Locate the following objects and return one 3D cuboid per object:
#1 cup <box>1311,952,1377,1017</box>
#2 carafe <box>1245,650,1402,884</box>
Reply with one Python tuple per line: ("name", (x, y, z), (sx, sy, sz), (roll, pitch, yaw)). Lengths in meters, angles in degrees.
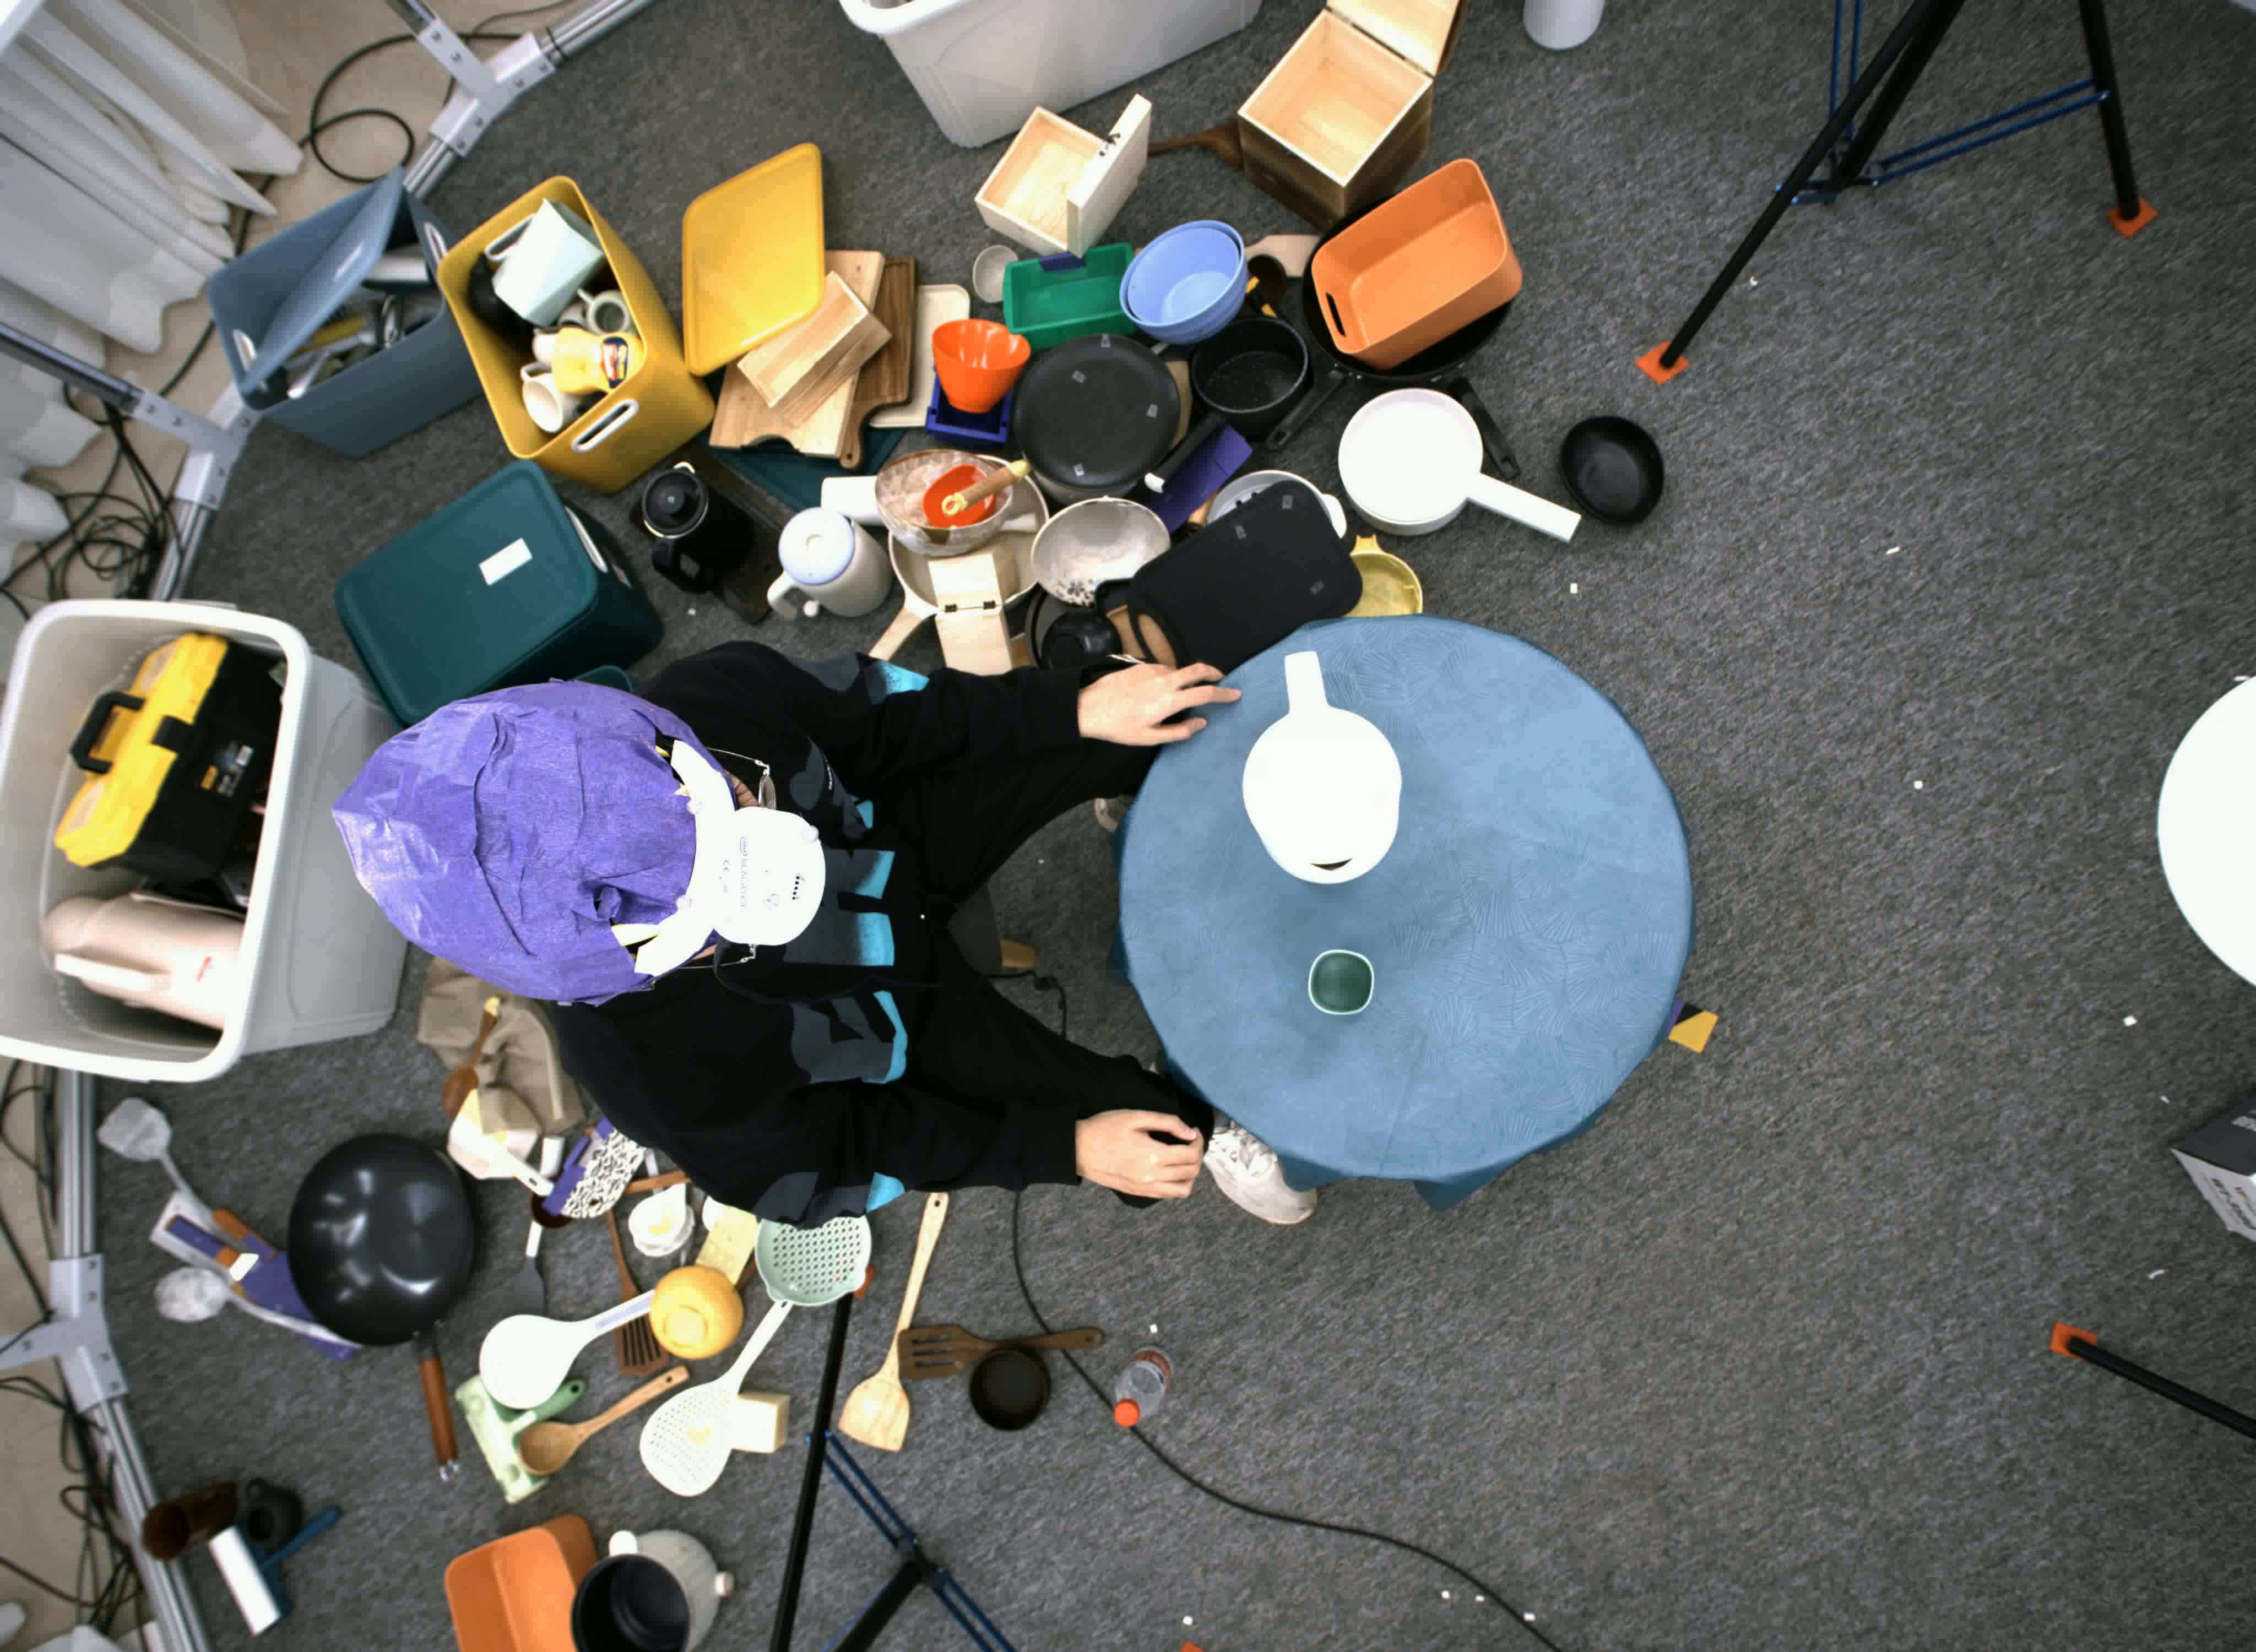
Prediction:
("cup", (0.217, 0.157, 1.398), (0.067, 0.132, 0.066), (-1, 86, 9))
("carafe", (0.192, -0.053, 1.358), (0.153, 0.240, 0.212), (-8, 85, 8))
